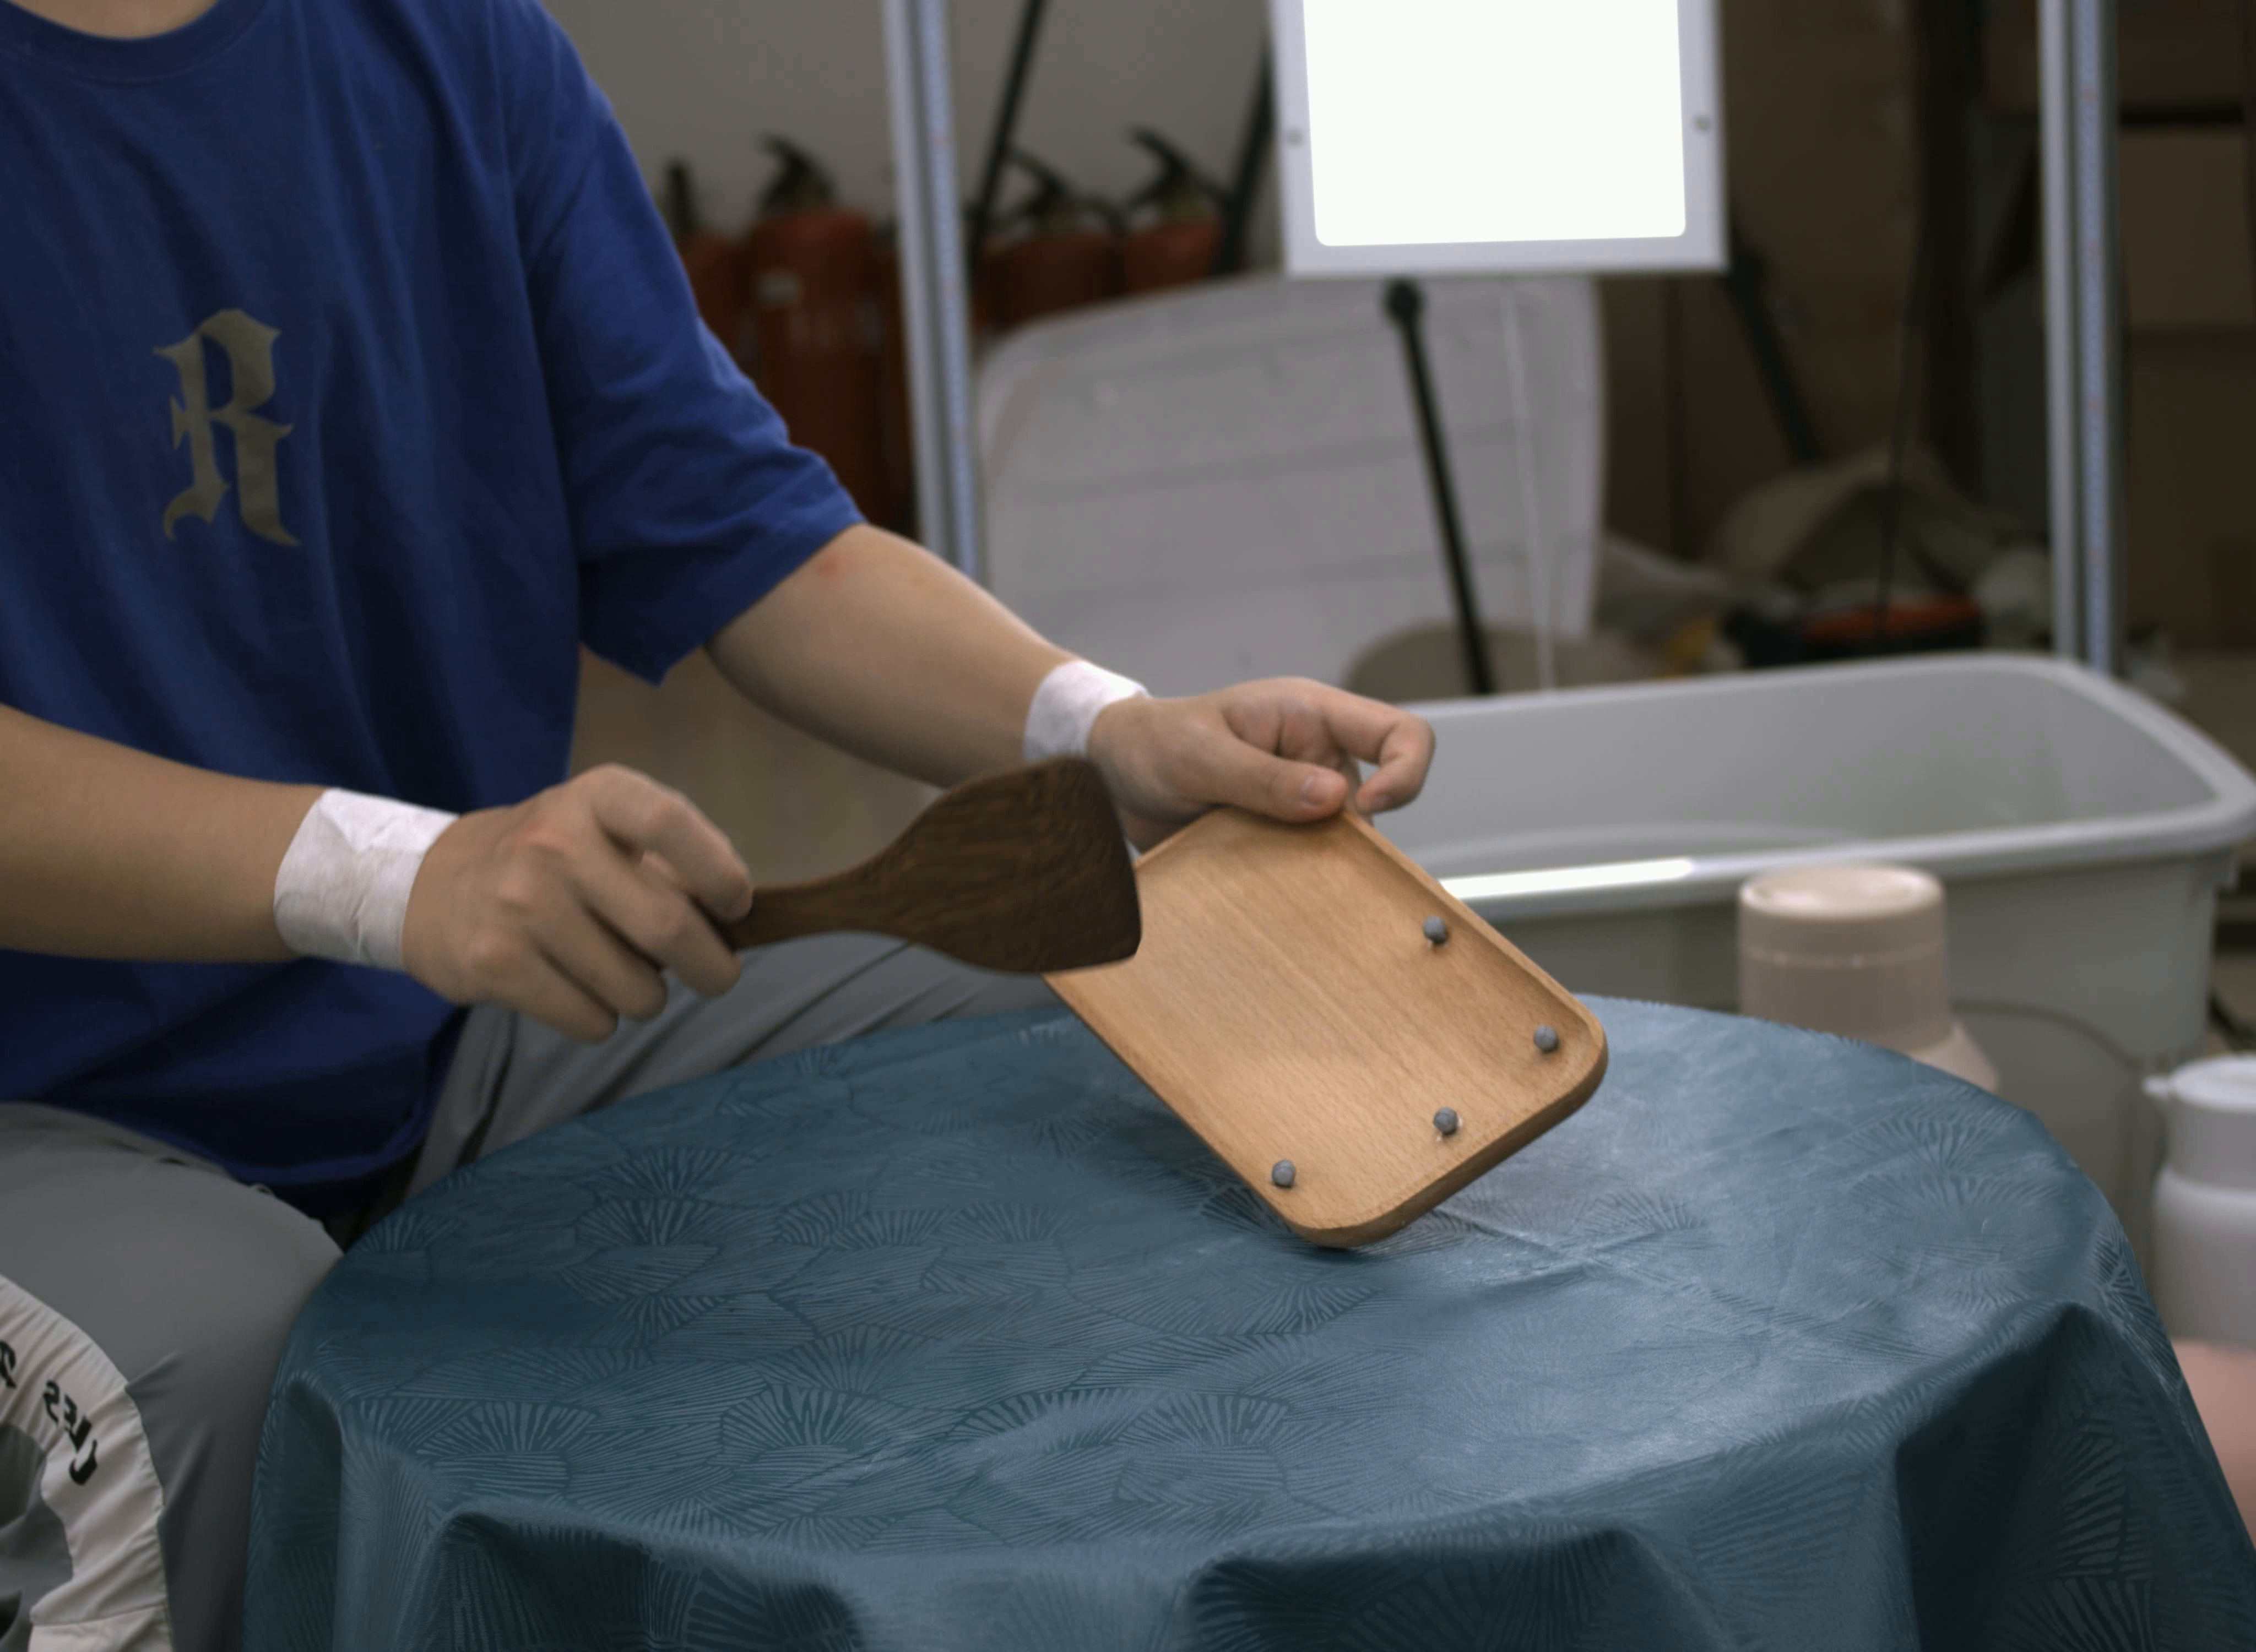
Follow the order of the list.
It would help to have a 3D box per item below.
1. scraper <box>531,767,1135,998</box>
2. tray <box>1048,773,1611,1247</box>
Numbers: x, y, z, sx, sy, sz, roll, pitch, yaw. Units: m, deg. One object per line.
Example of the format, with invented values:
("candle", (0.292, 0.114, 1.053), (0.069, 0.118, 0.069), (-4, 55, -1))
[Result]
("scraper", (-0.100, 0.030, 1.799), (0.214, 0.076, 0.010), (-9, 19, 23))
("tray", (0.065, 0.061, 1.915), (0.129, 0.023, 0.254), (-30, 33, -10))
